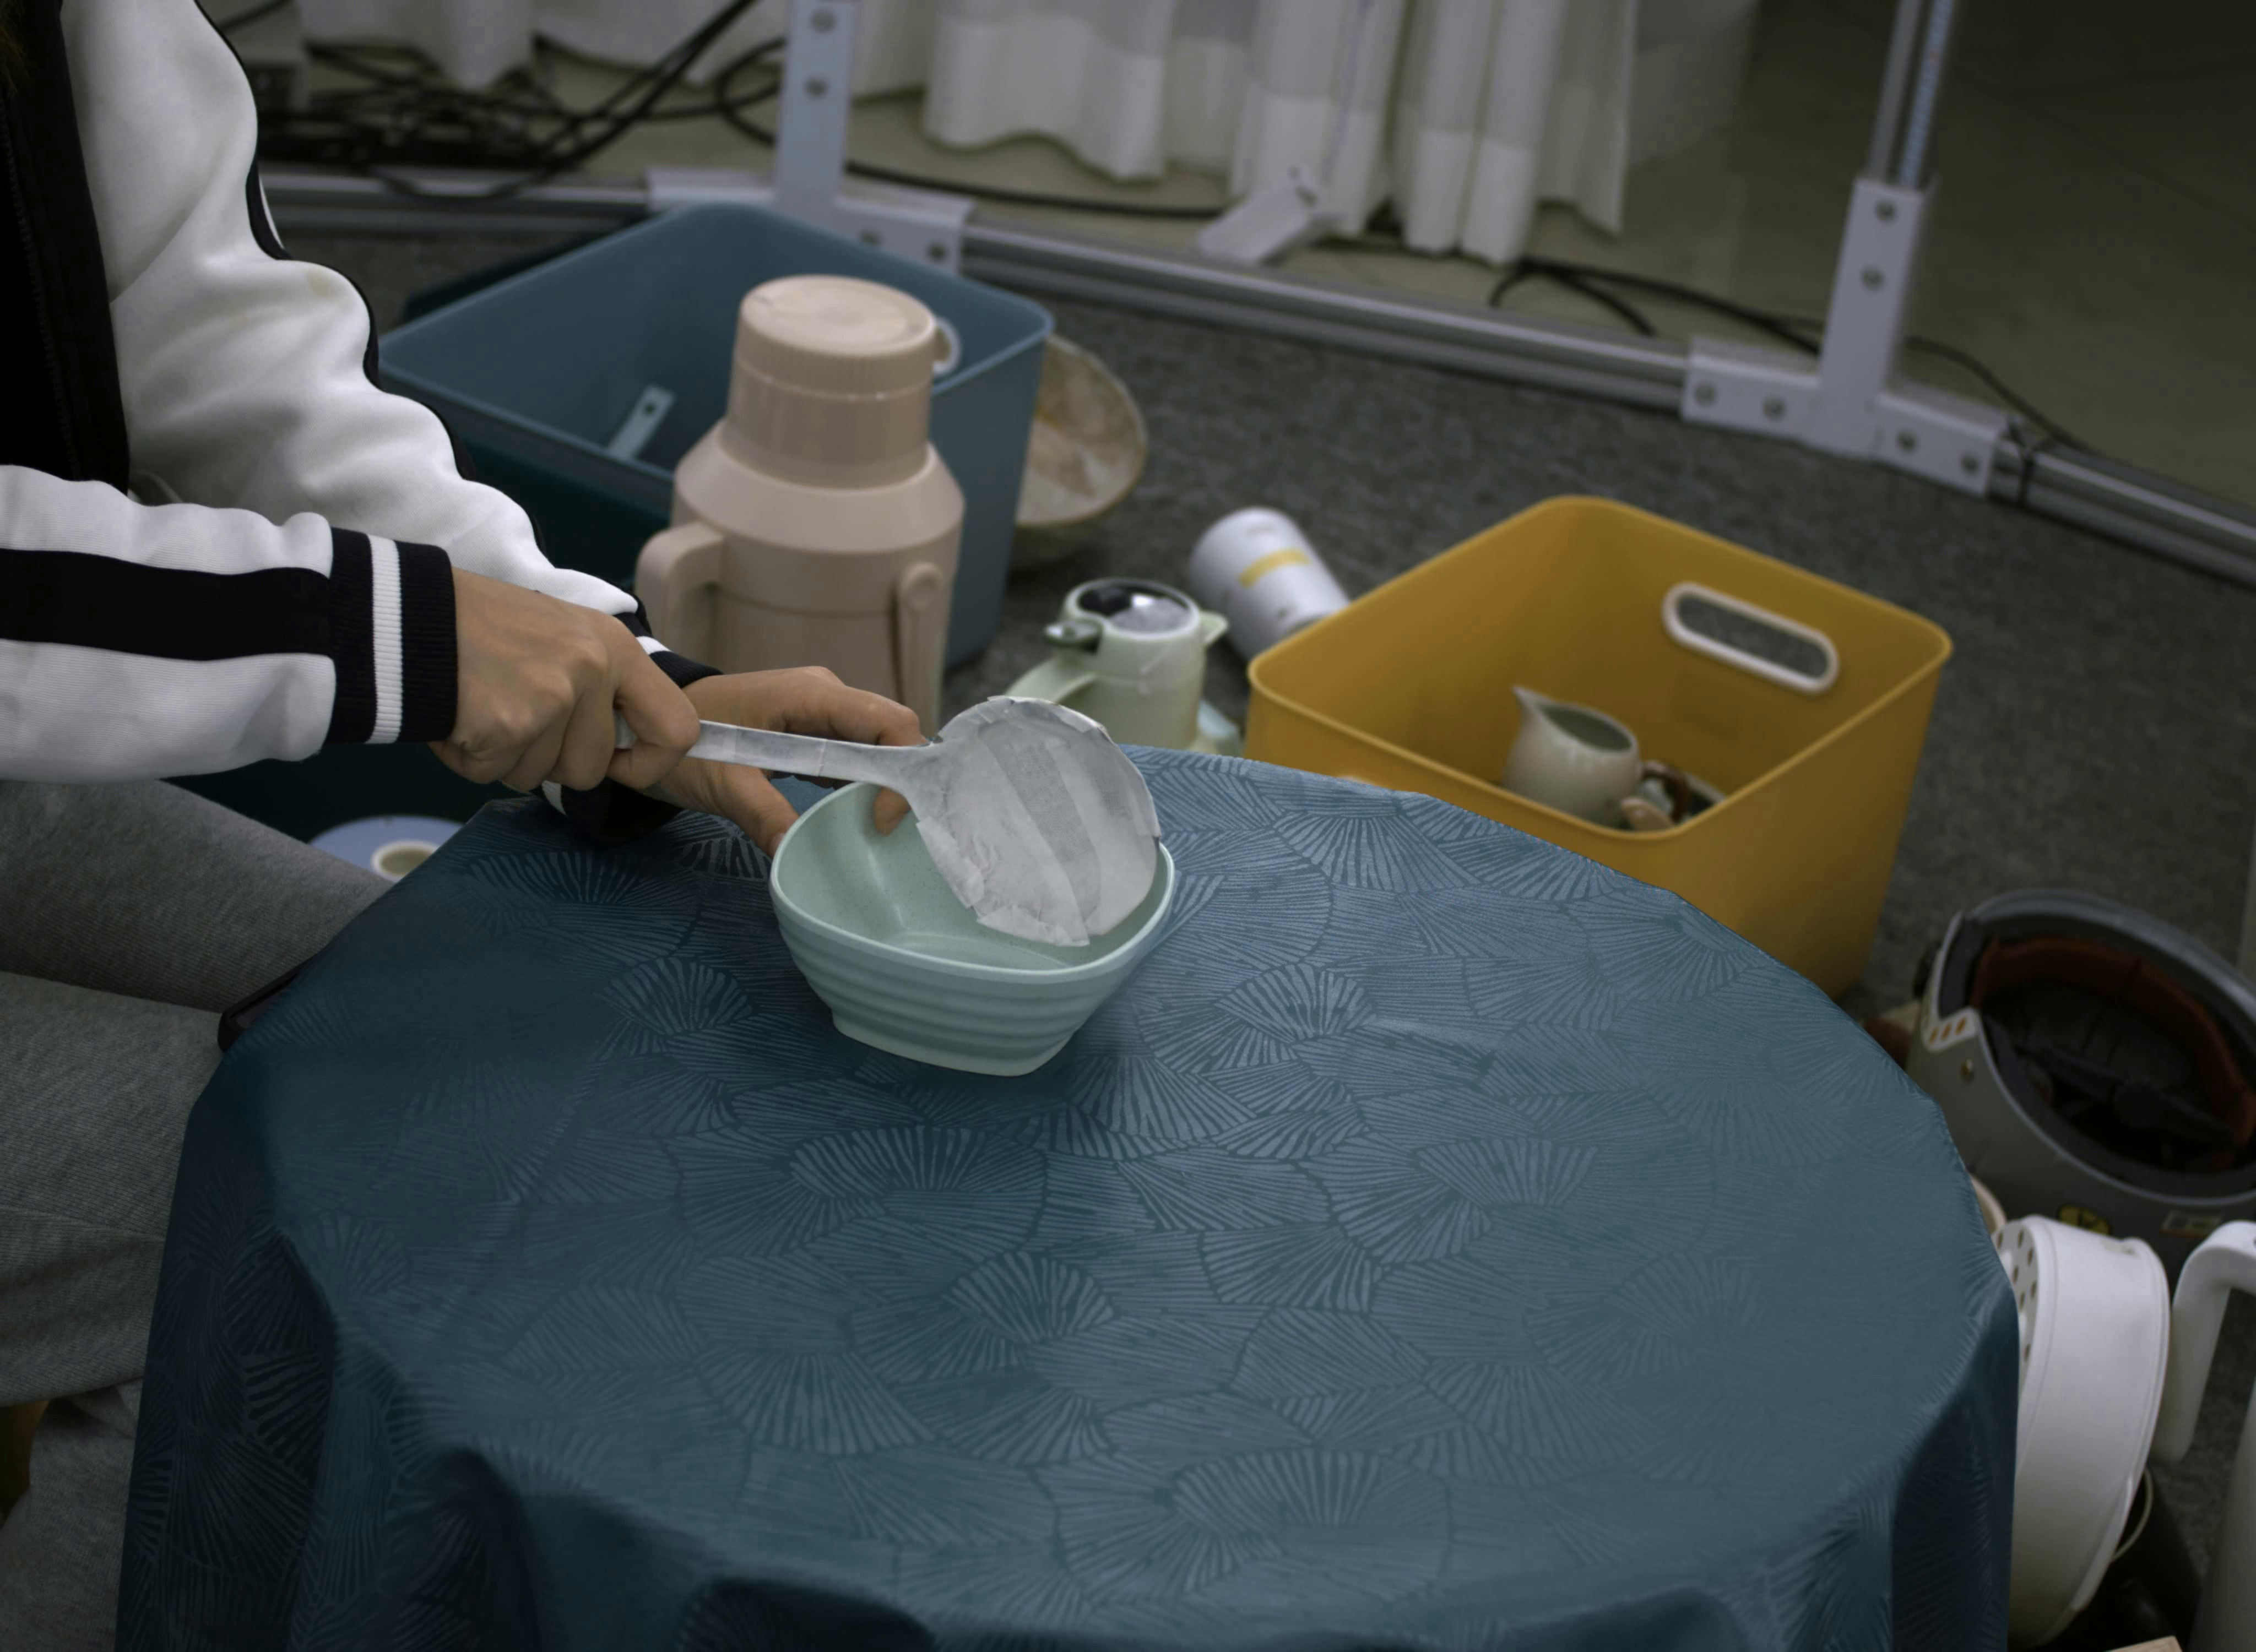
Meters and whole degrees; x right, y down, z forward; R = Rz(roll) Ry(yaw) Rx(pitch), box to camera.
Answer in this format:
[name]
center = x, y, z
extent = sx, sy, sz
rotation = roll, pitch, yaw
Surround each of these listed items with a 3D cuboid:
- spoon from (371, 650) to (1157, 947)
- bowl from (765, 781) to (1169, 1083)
[spoon]
center = -0.125, -0.023, 1.850
extent = 0.275, 0.100, 0.060
rotation = 11, 24, -16
[bowl]
center = -0.059, 0.043, 1.890
extent = 0.151, 0.058, 0.152
rotation = 6, 26, -3
